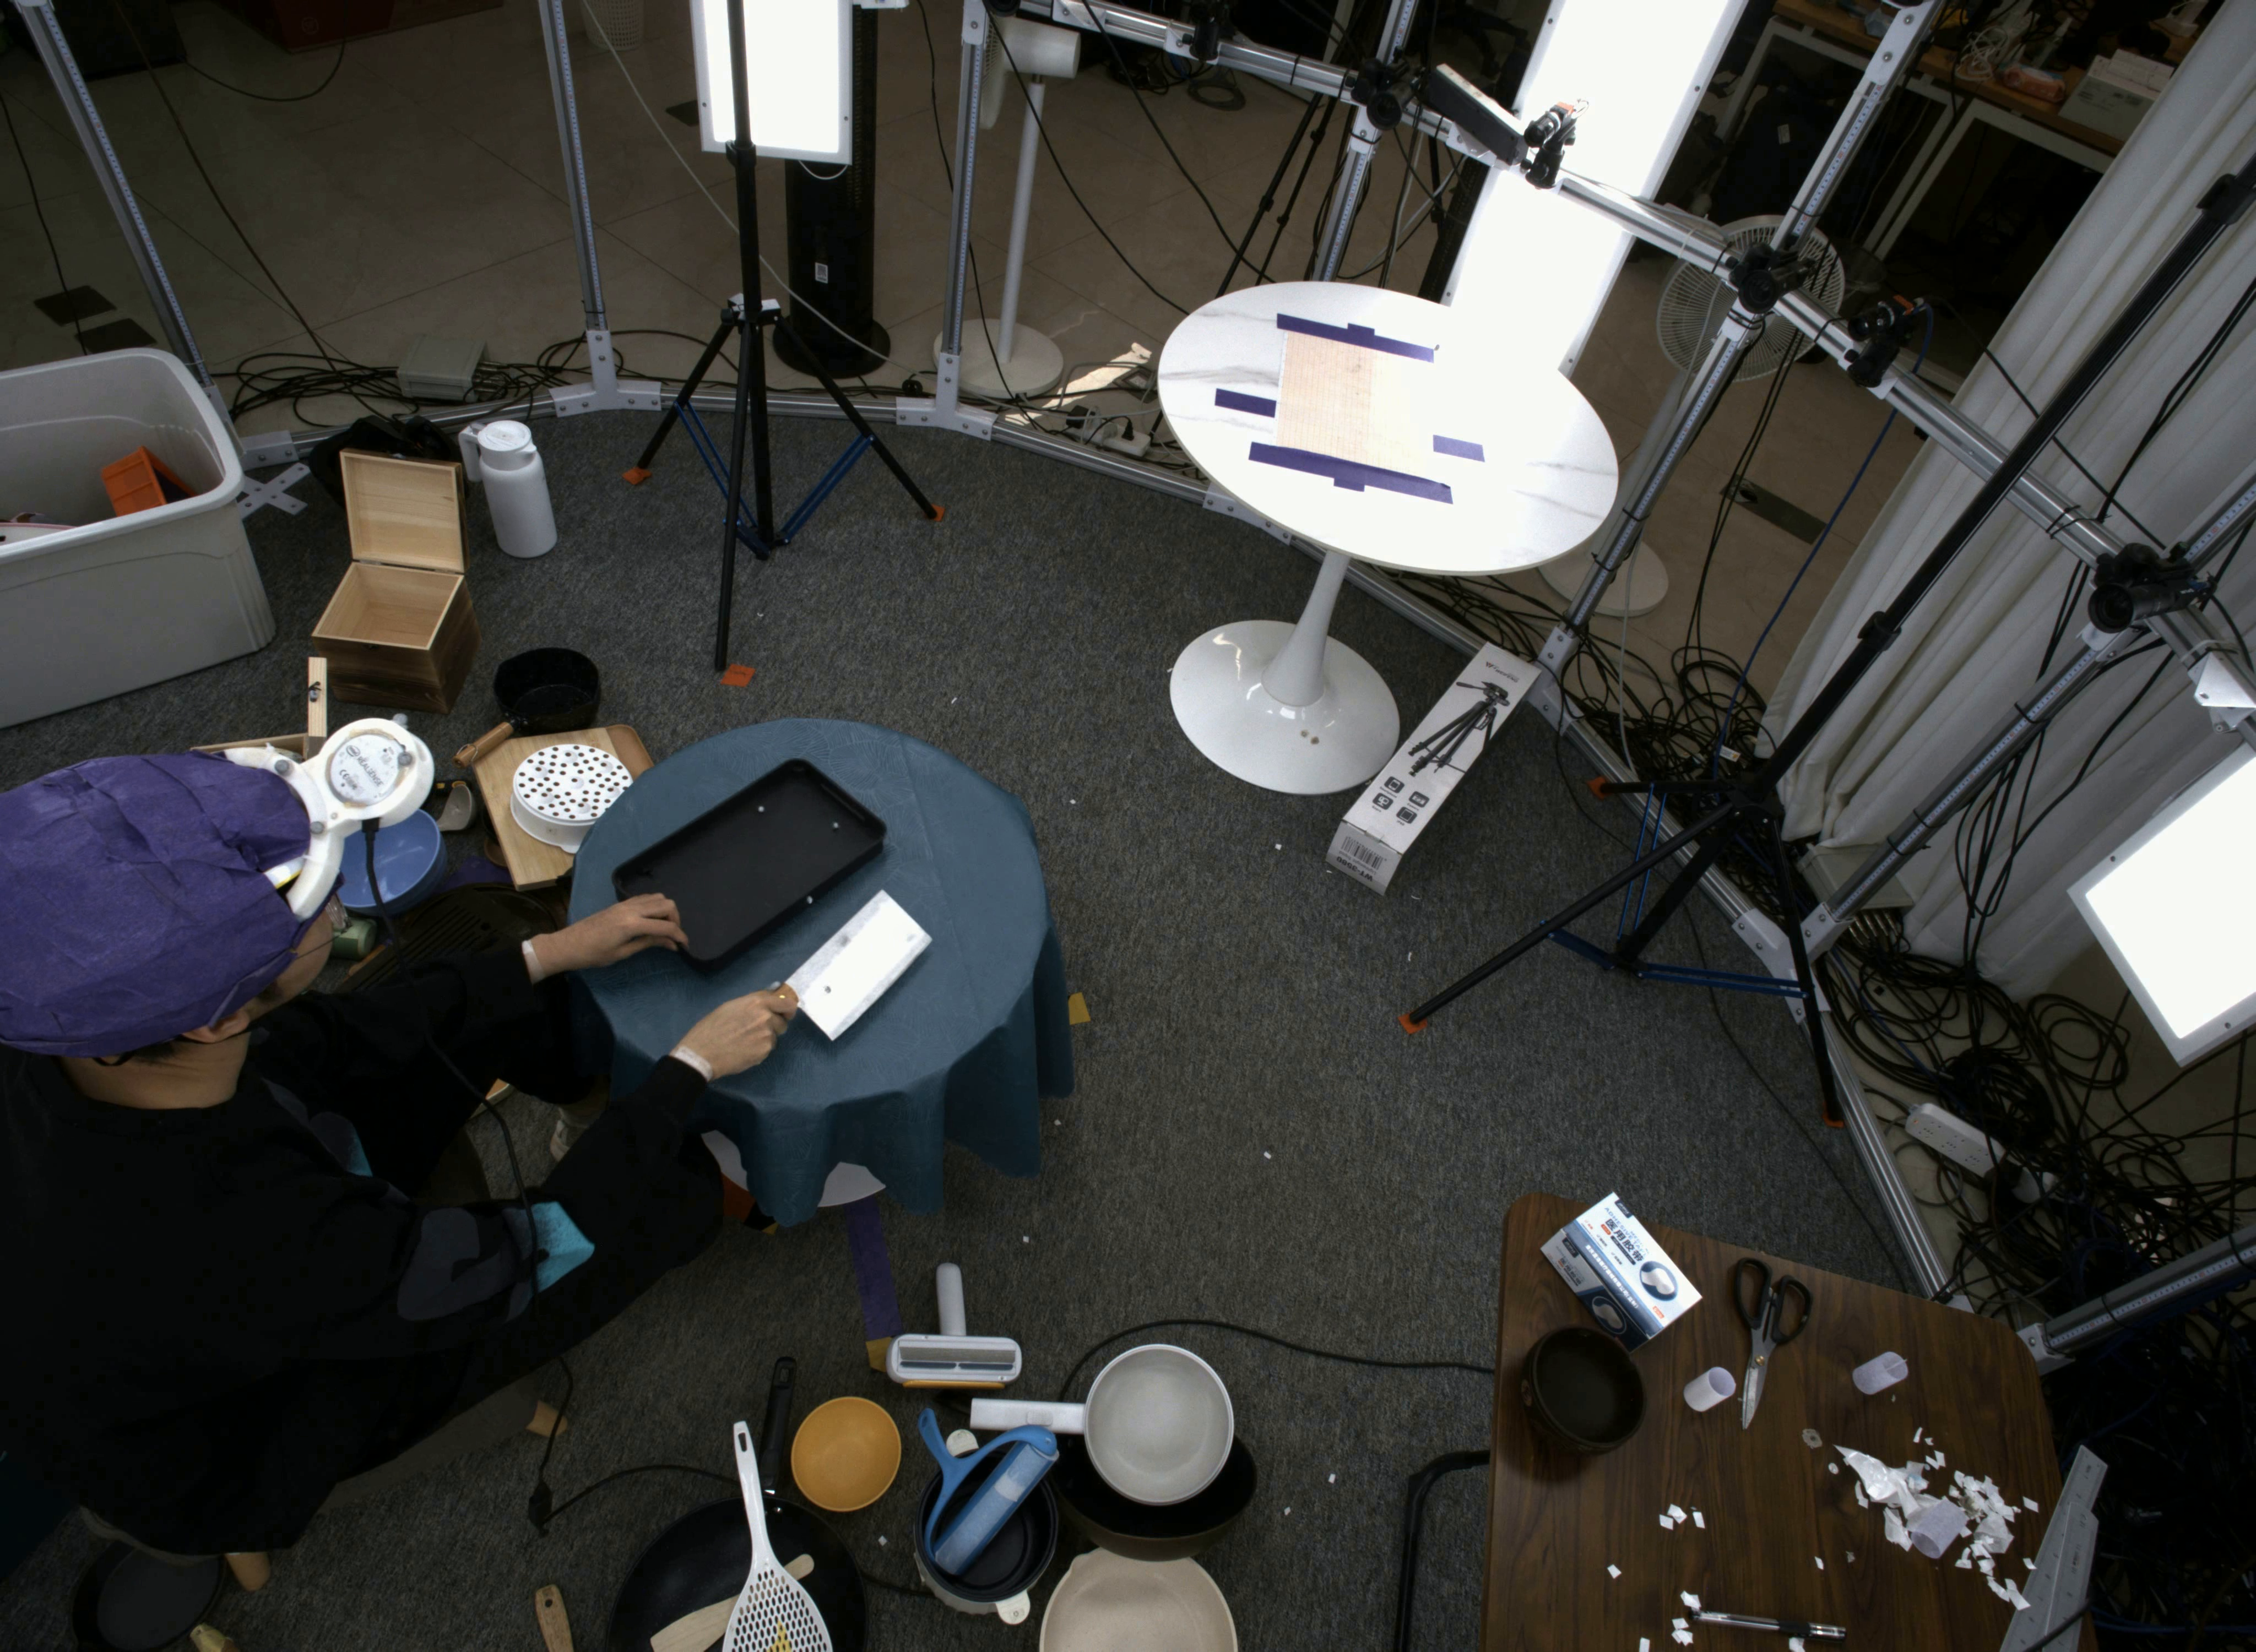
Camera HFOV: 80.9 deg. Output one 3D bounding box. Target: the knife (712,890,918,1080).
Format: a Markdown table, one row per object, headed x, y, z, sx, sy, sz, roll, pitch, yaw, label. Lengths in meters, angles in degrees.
| x | y | z | sx | sy | sz | roll | pitch | yaw | label |
| --- | --- | --- | --- | --- | --- | --- | --- | --- | --- |
| -0.357 | 0.196 | 1.528 | 0.094 | 0.021 | 0.305 | 47 | 52 | -8 | knife |

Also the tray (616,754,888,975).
| x | y | z | sx | sy | sz | roll | pitch | yaw | label |
| --- | --- | --- | --- | --- | --- | --- | --- | --- | --- |
| -0.470 | 0.040 | 1.635 | 0.181 | 0.038 | 0.318 | 36 | 49 | 13 | tray |
